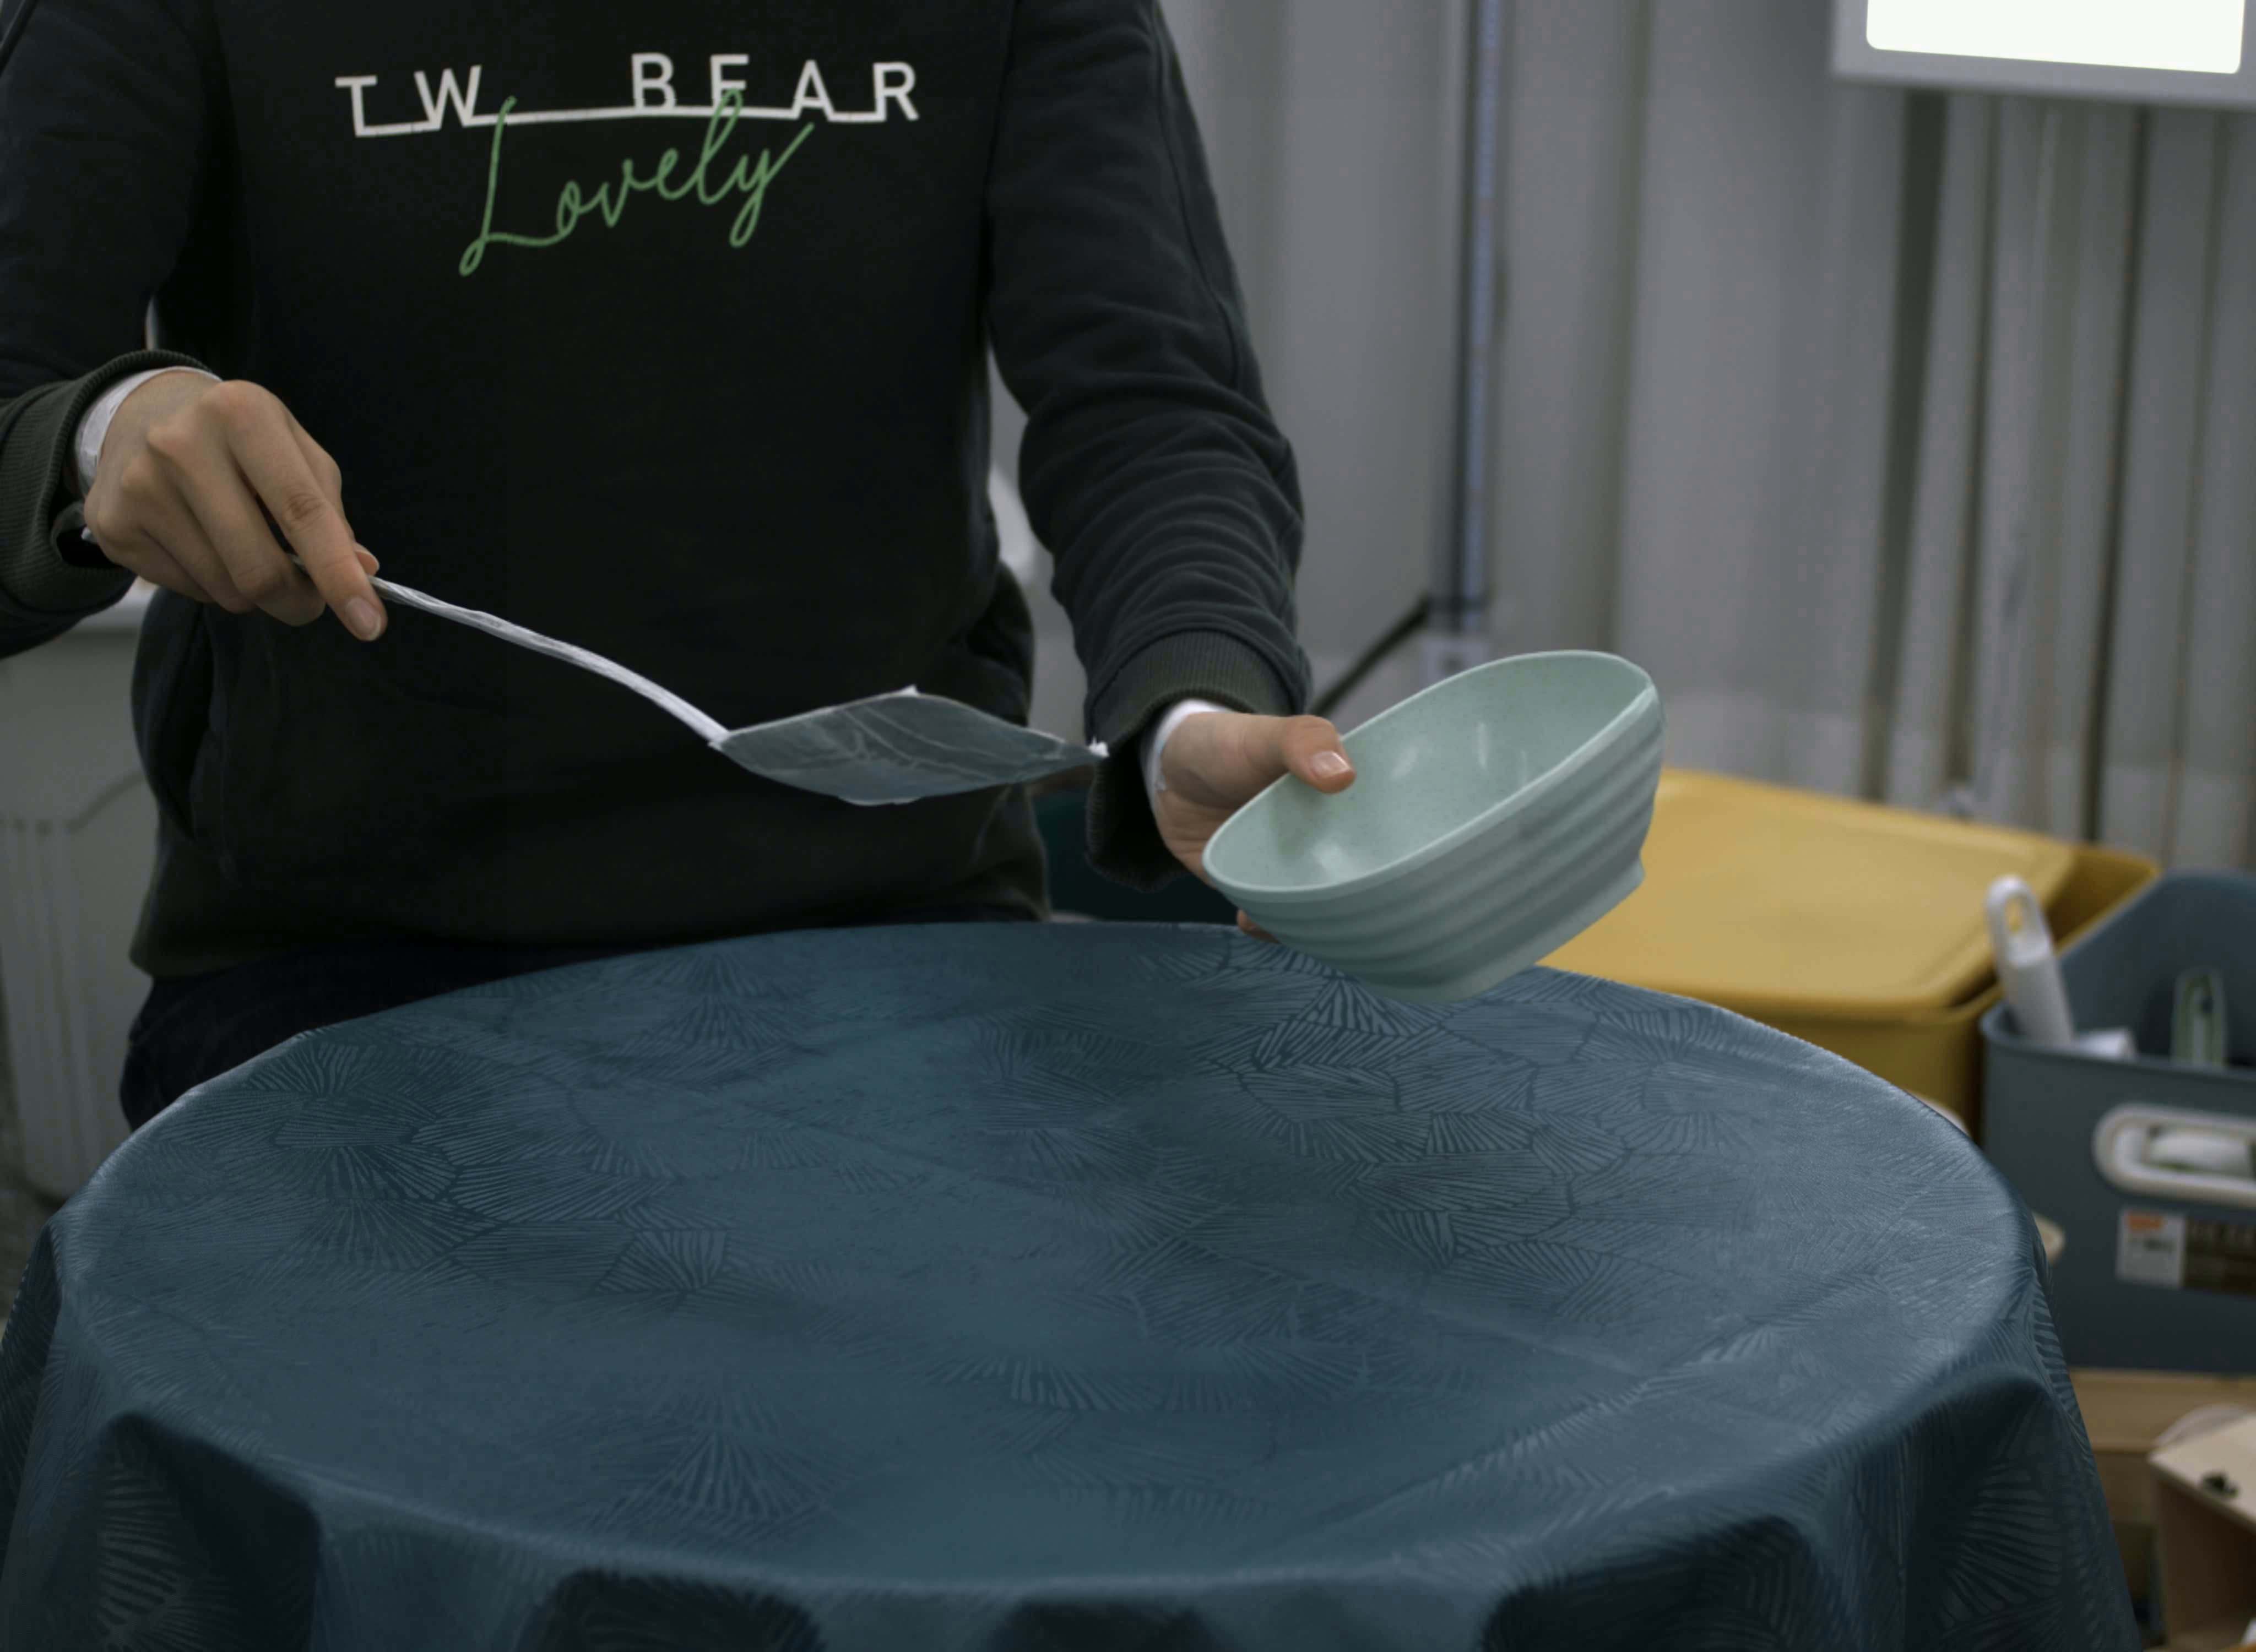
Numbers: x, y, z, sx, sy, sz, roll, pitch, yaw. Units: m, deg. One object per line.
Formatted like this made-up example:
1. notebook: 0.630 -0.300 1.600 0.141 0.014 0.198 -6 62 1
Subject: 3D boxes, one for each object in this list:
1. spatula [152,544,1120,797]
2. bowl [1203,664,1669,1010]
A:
1. spatula: -0.164 -0.056 1.539 0.360 0.045 0.099 19 3 35
2. bowl: 0.101 0.009 1.592 0.151 0.059 0.150 -22 17 8
